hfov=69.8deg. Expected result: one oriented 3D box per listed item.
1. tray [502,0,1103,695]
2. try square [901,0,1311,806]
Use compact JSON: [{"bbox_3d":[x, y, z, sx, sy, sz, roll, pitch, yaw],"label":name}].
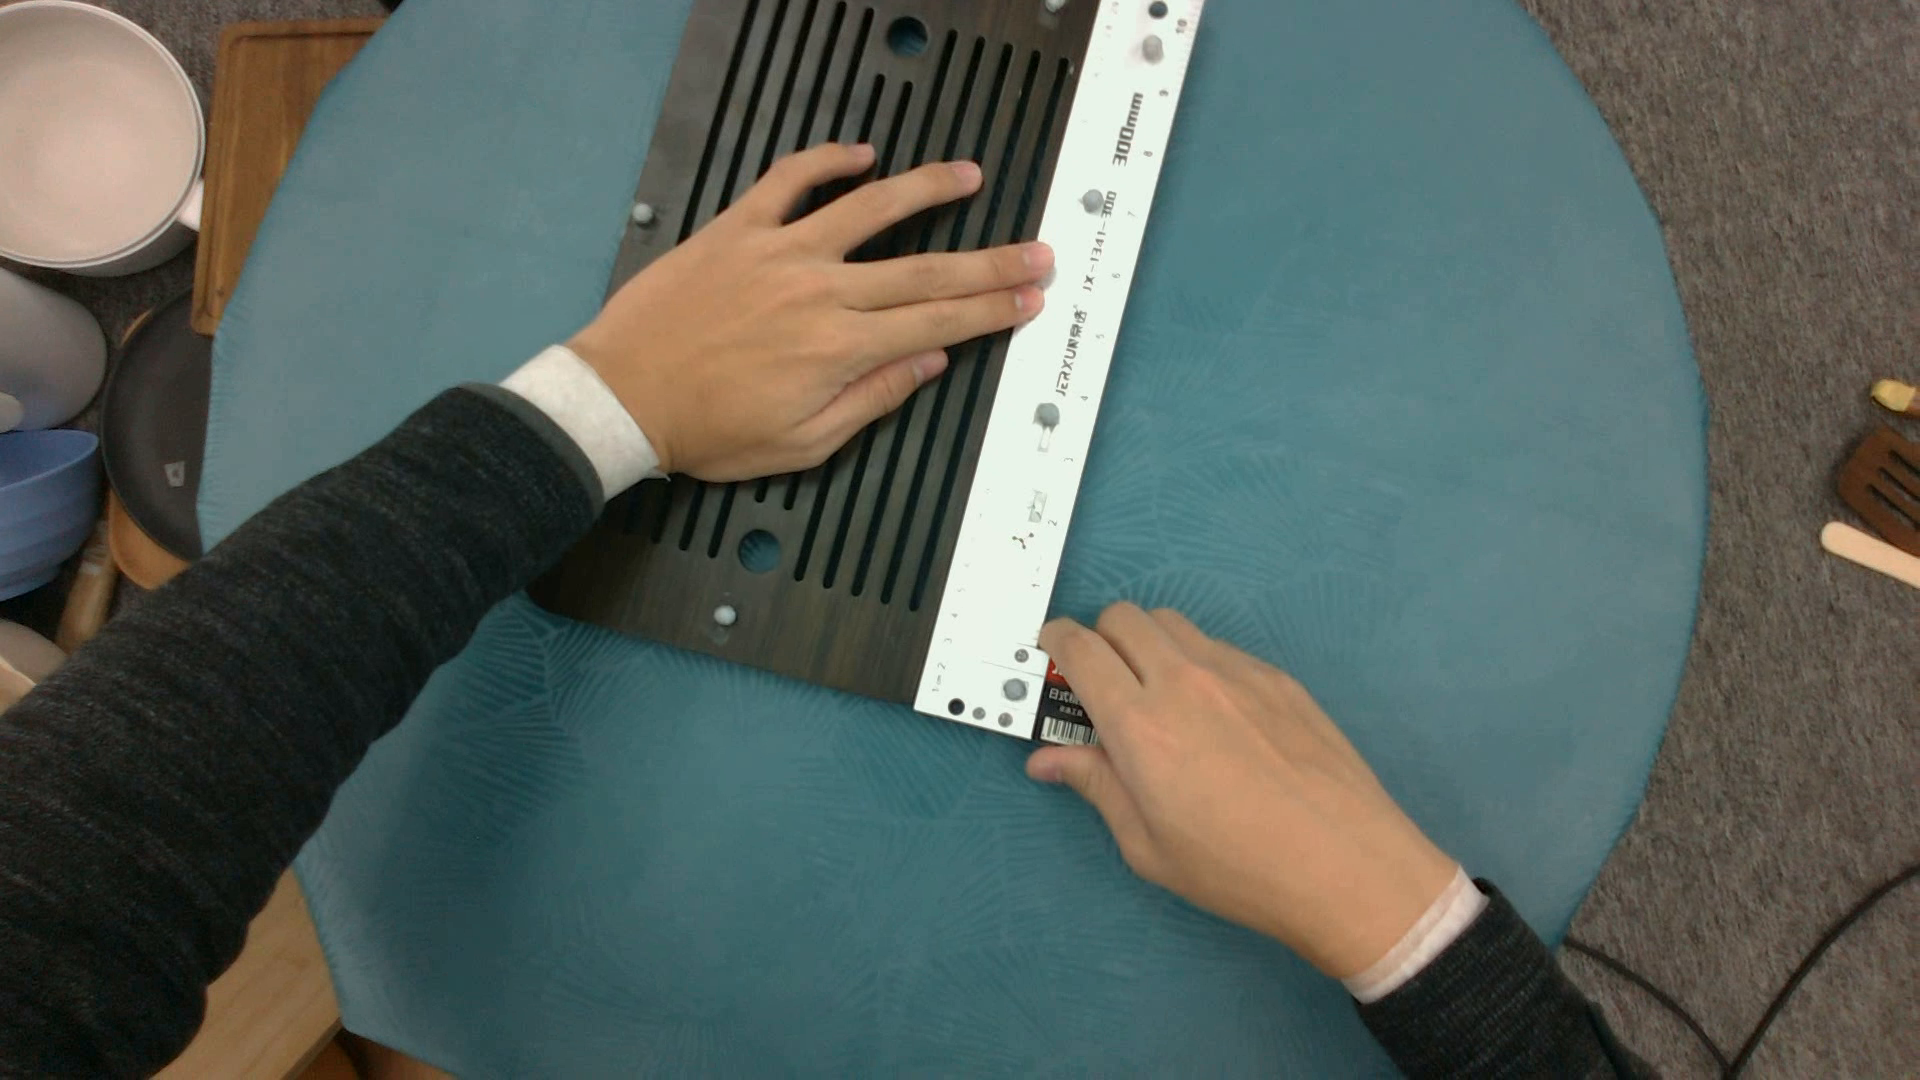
[{"bbox_3d":[-0.059,-0.105,0.550,0.170,0.018,0.306,15,84,1],"label":"tray"},{"bbox_3d":[0.087,-0.067,0.535,0.152,0.016,0.313,14,84,4],"label":"try square"}]
